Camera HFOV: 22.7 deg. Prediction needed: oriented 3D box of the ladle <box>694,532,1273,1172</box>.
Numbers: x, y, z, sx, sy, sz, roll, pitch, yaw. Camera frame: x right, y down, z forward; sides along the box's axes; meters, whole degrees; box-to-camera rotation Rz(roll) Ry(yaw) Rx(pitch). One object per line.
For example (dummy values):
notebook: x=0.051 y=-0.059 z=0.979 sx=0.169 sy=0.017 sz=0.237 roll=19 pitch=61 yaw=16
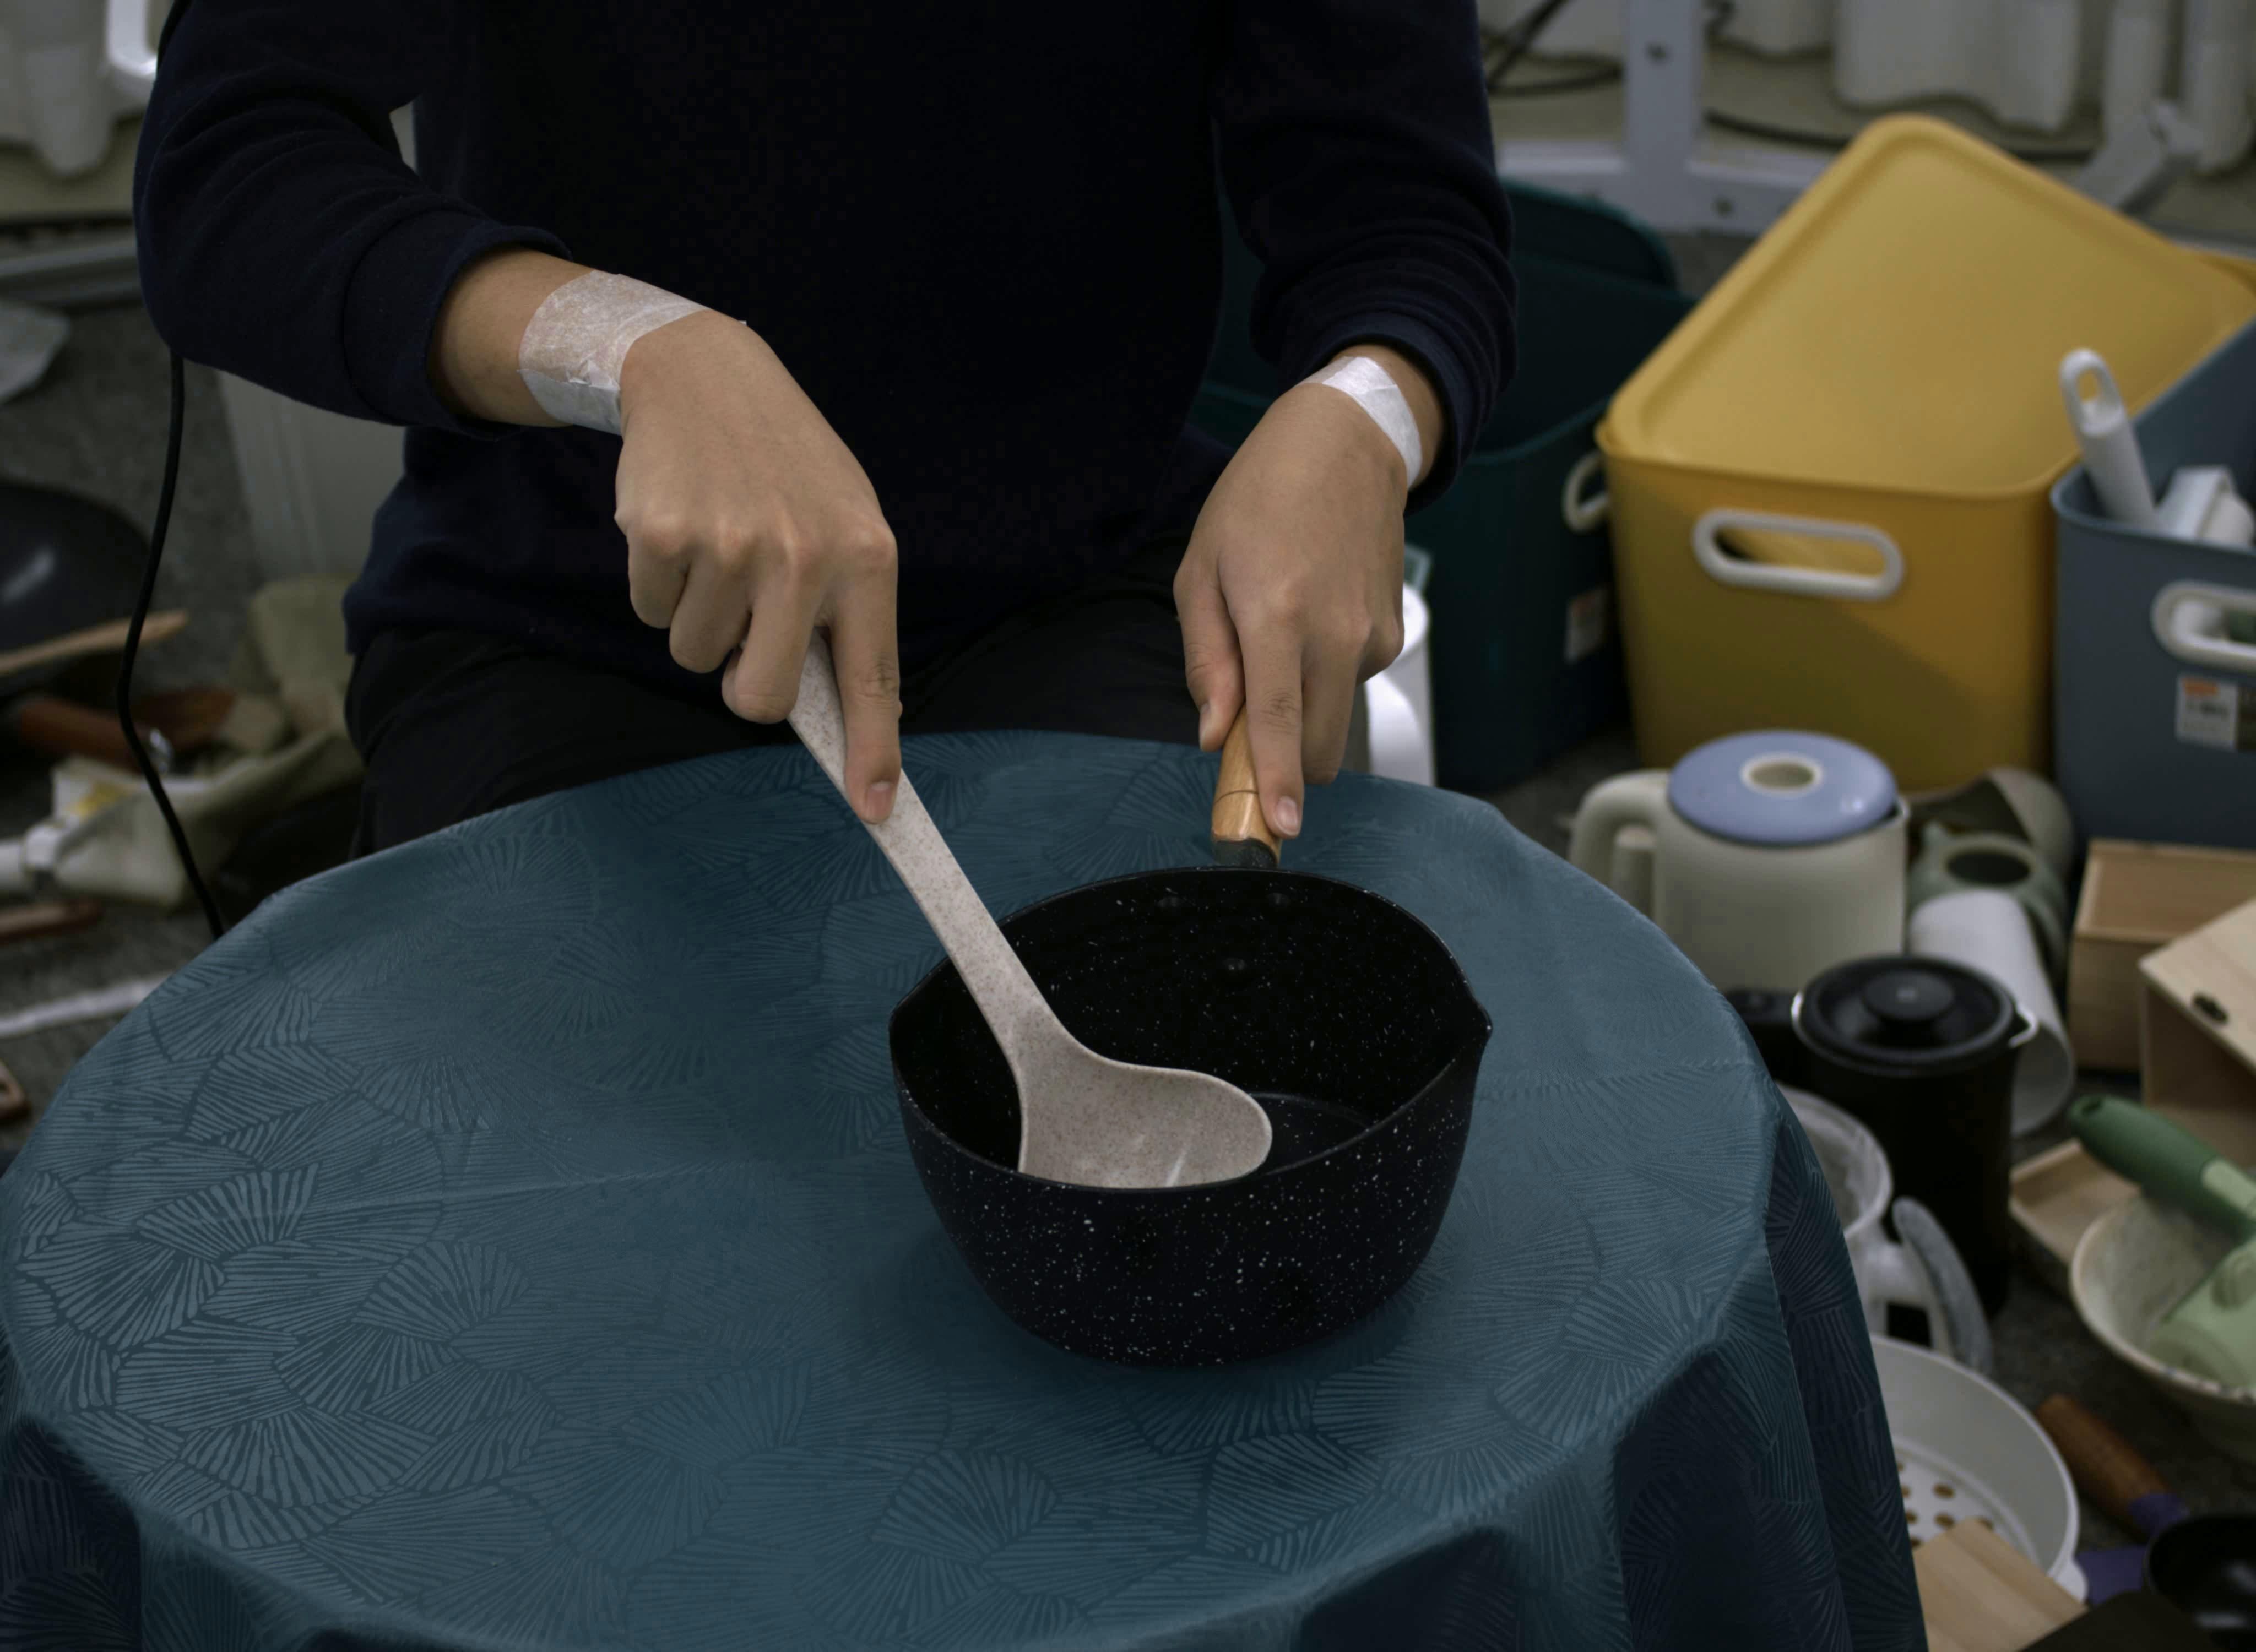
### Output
ladle: x=-0.052 y=0.019 z=1.798 sx=0.090 sy=0.275 sz=0.069 roll=-34 pitch=5 yaw=-22

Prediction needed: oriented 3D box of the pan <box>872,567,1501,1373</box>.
pan: x=0.031 y=0.045 z=1.868 sx=0.206 sy=0.107 sz=0.349 roll=-2 pitch=32 yaw=11
